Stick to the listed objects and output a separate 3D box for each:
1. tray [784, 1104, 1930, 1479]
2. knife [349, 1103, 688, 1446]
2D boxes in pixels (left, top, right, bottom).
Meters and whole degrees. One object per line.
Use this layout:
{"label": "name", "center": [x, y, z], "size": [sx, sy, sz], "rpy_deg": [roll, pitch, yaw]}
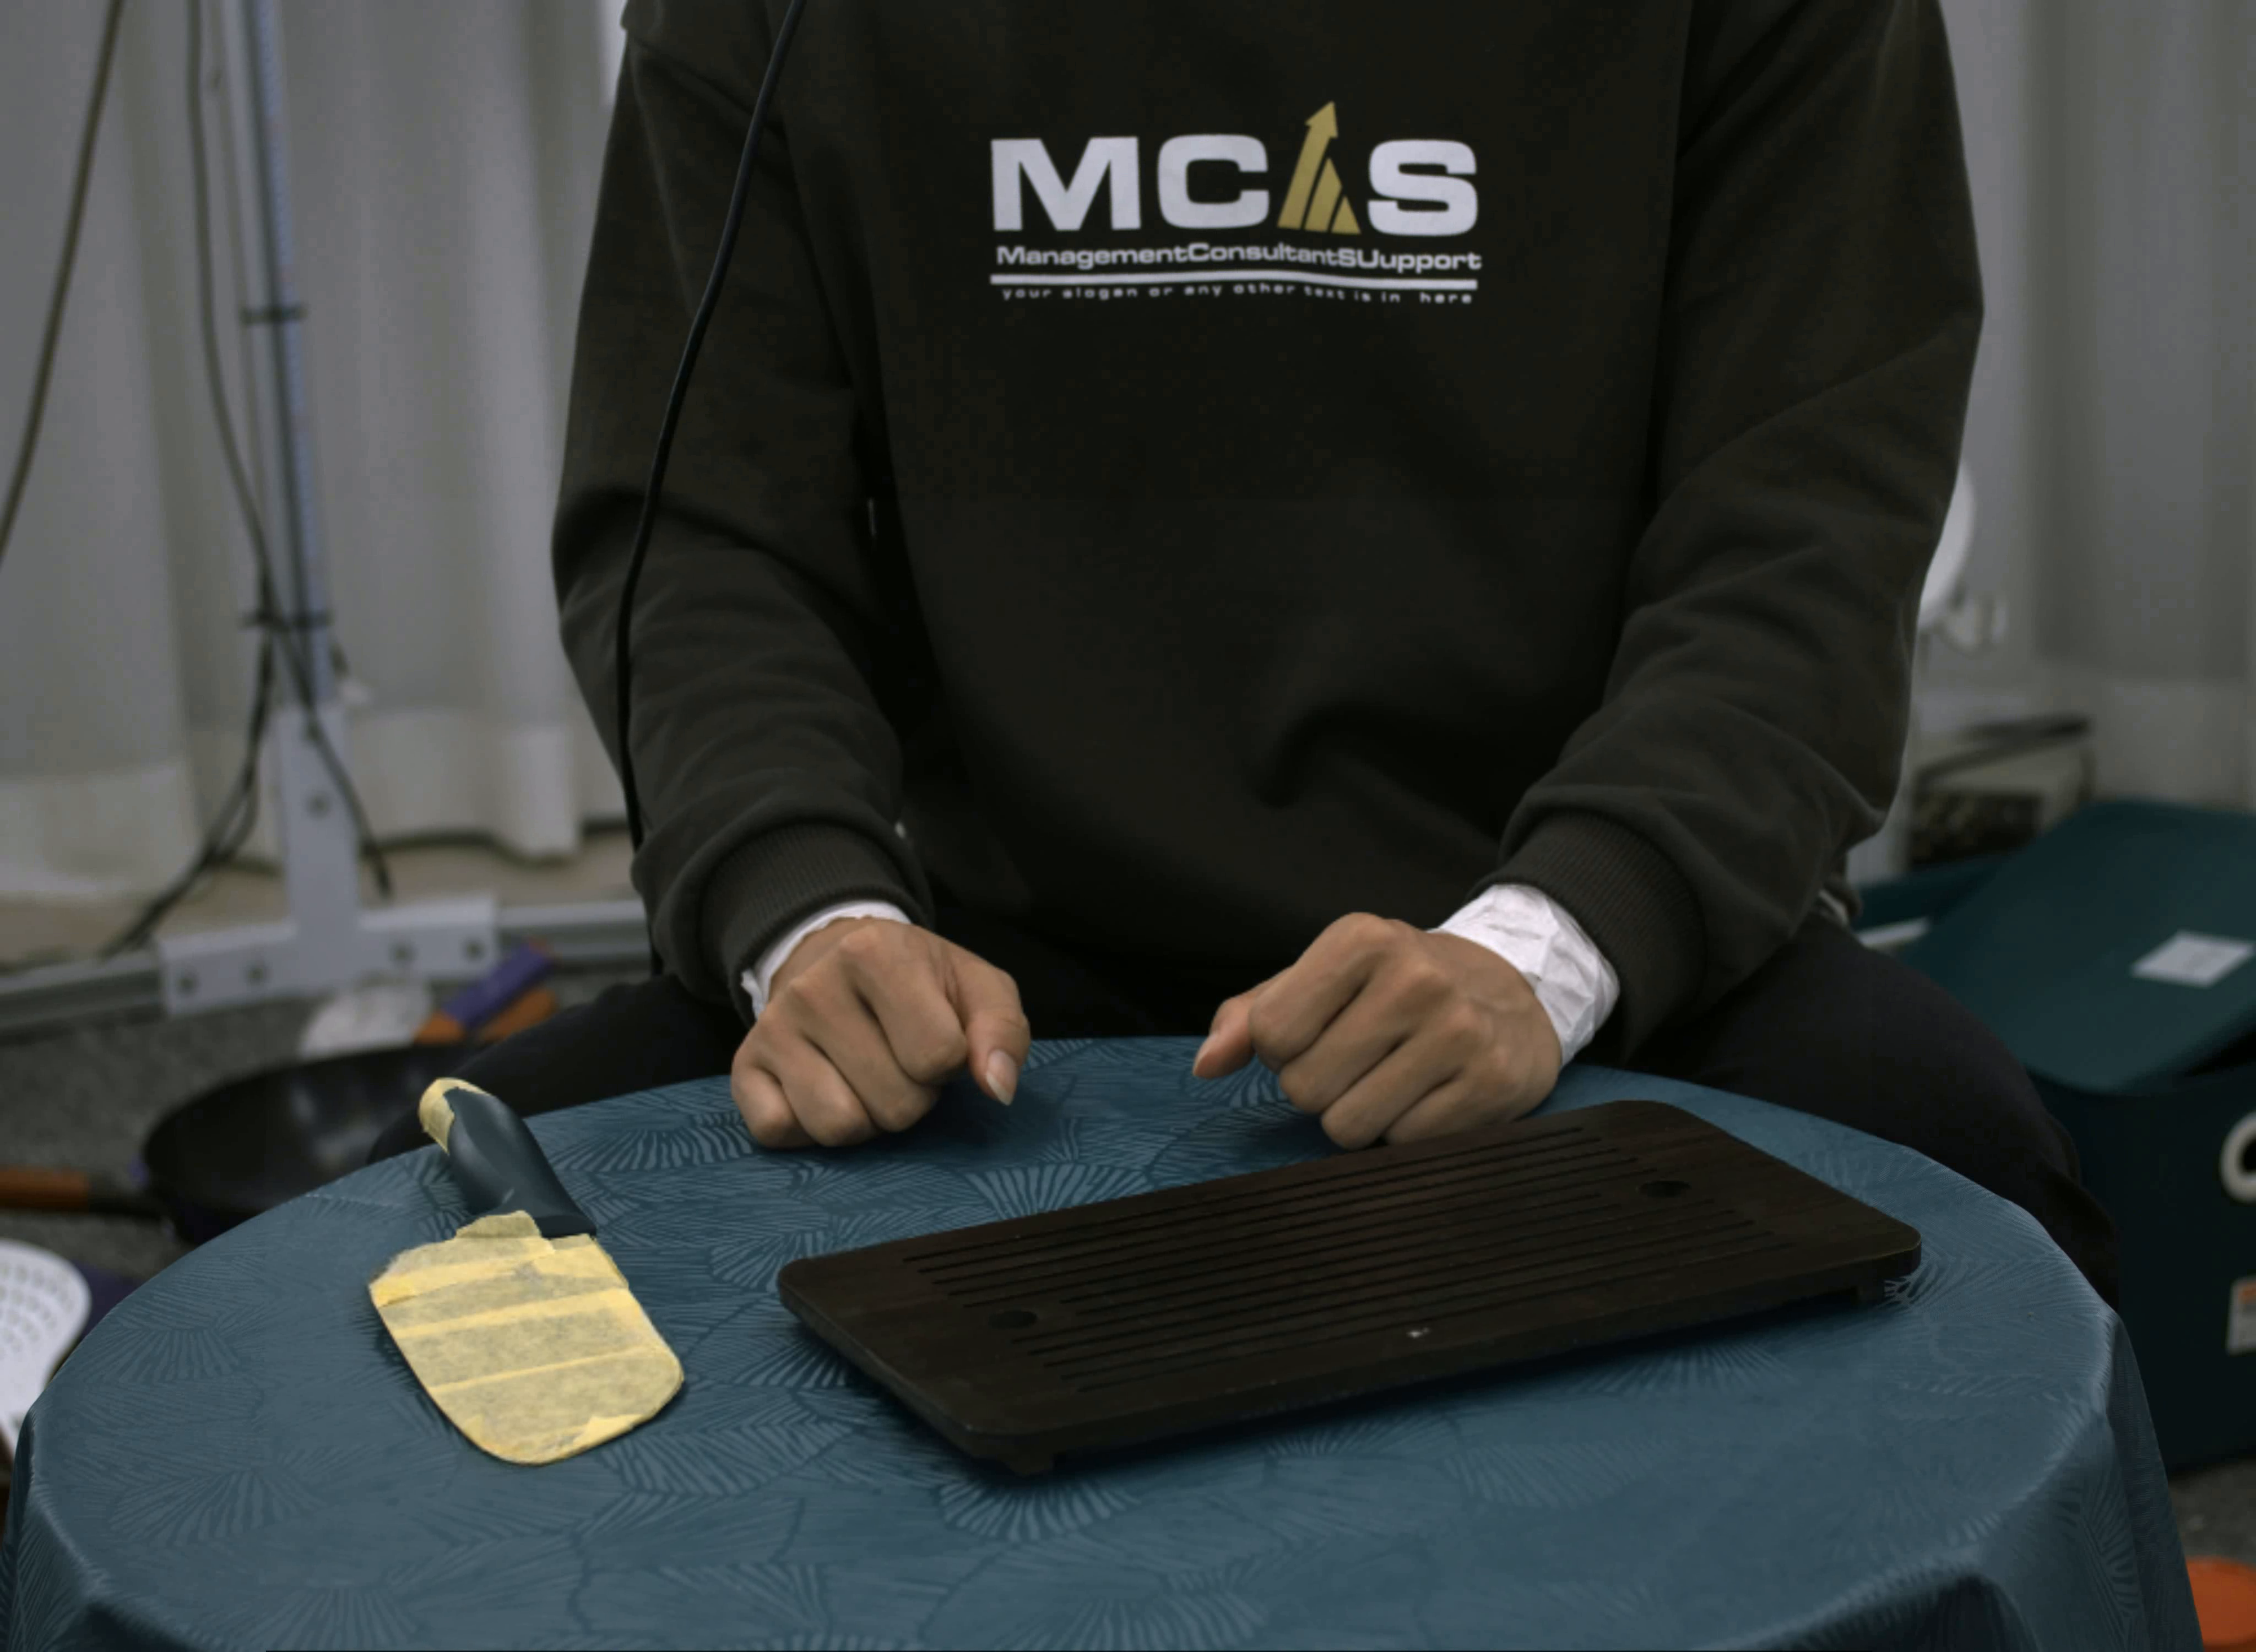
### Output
{"label": "tray", "center": [0.066, 0.134, 1.598], "size": [0.304, 0.018, 0.171], "rpy_deg": [-9, 15, -23]}
{"label": "knife", "center": [-0.192, 0.135, 1.648], "size": [0.080, 0.027, 0.292], "rpy_deg": [-5, 16, -15]}
